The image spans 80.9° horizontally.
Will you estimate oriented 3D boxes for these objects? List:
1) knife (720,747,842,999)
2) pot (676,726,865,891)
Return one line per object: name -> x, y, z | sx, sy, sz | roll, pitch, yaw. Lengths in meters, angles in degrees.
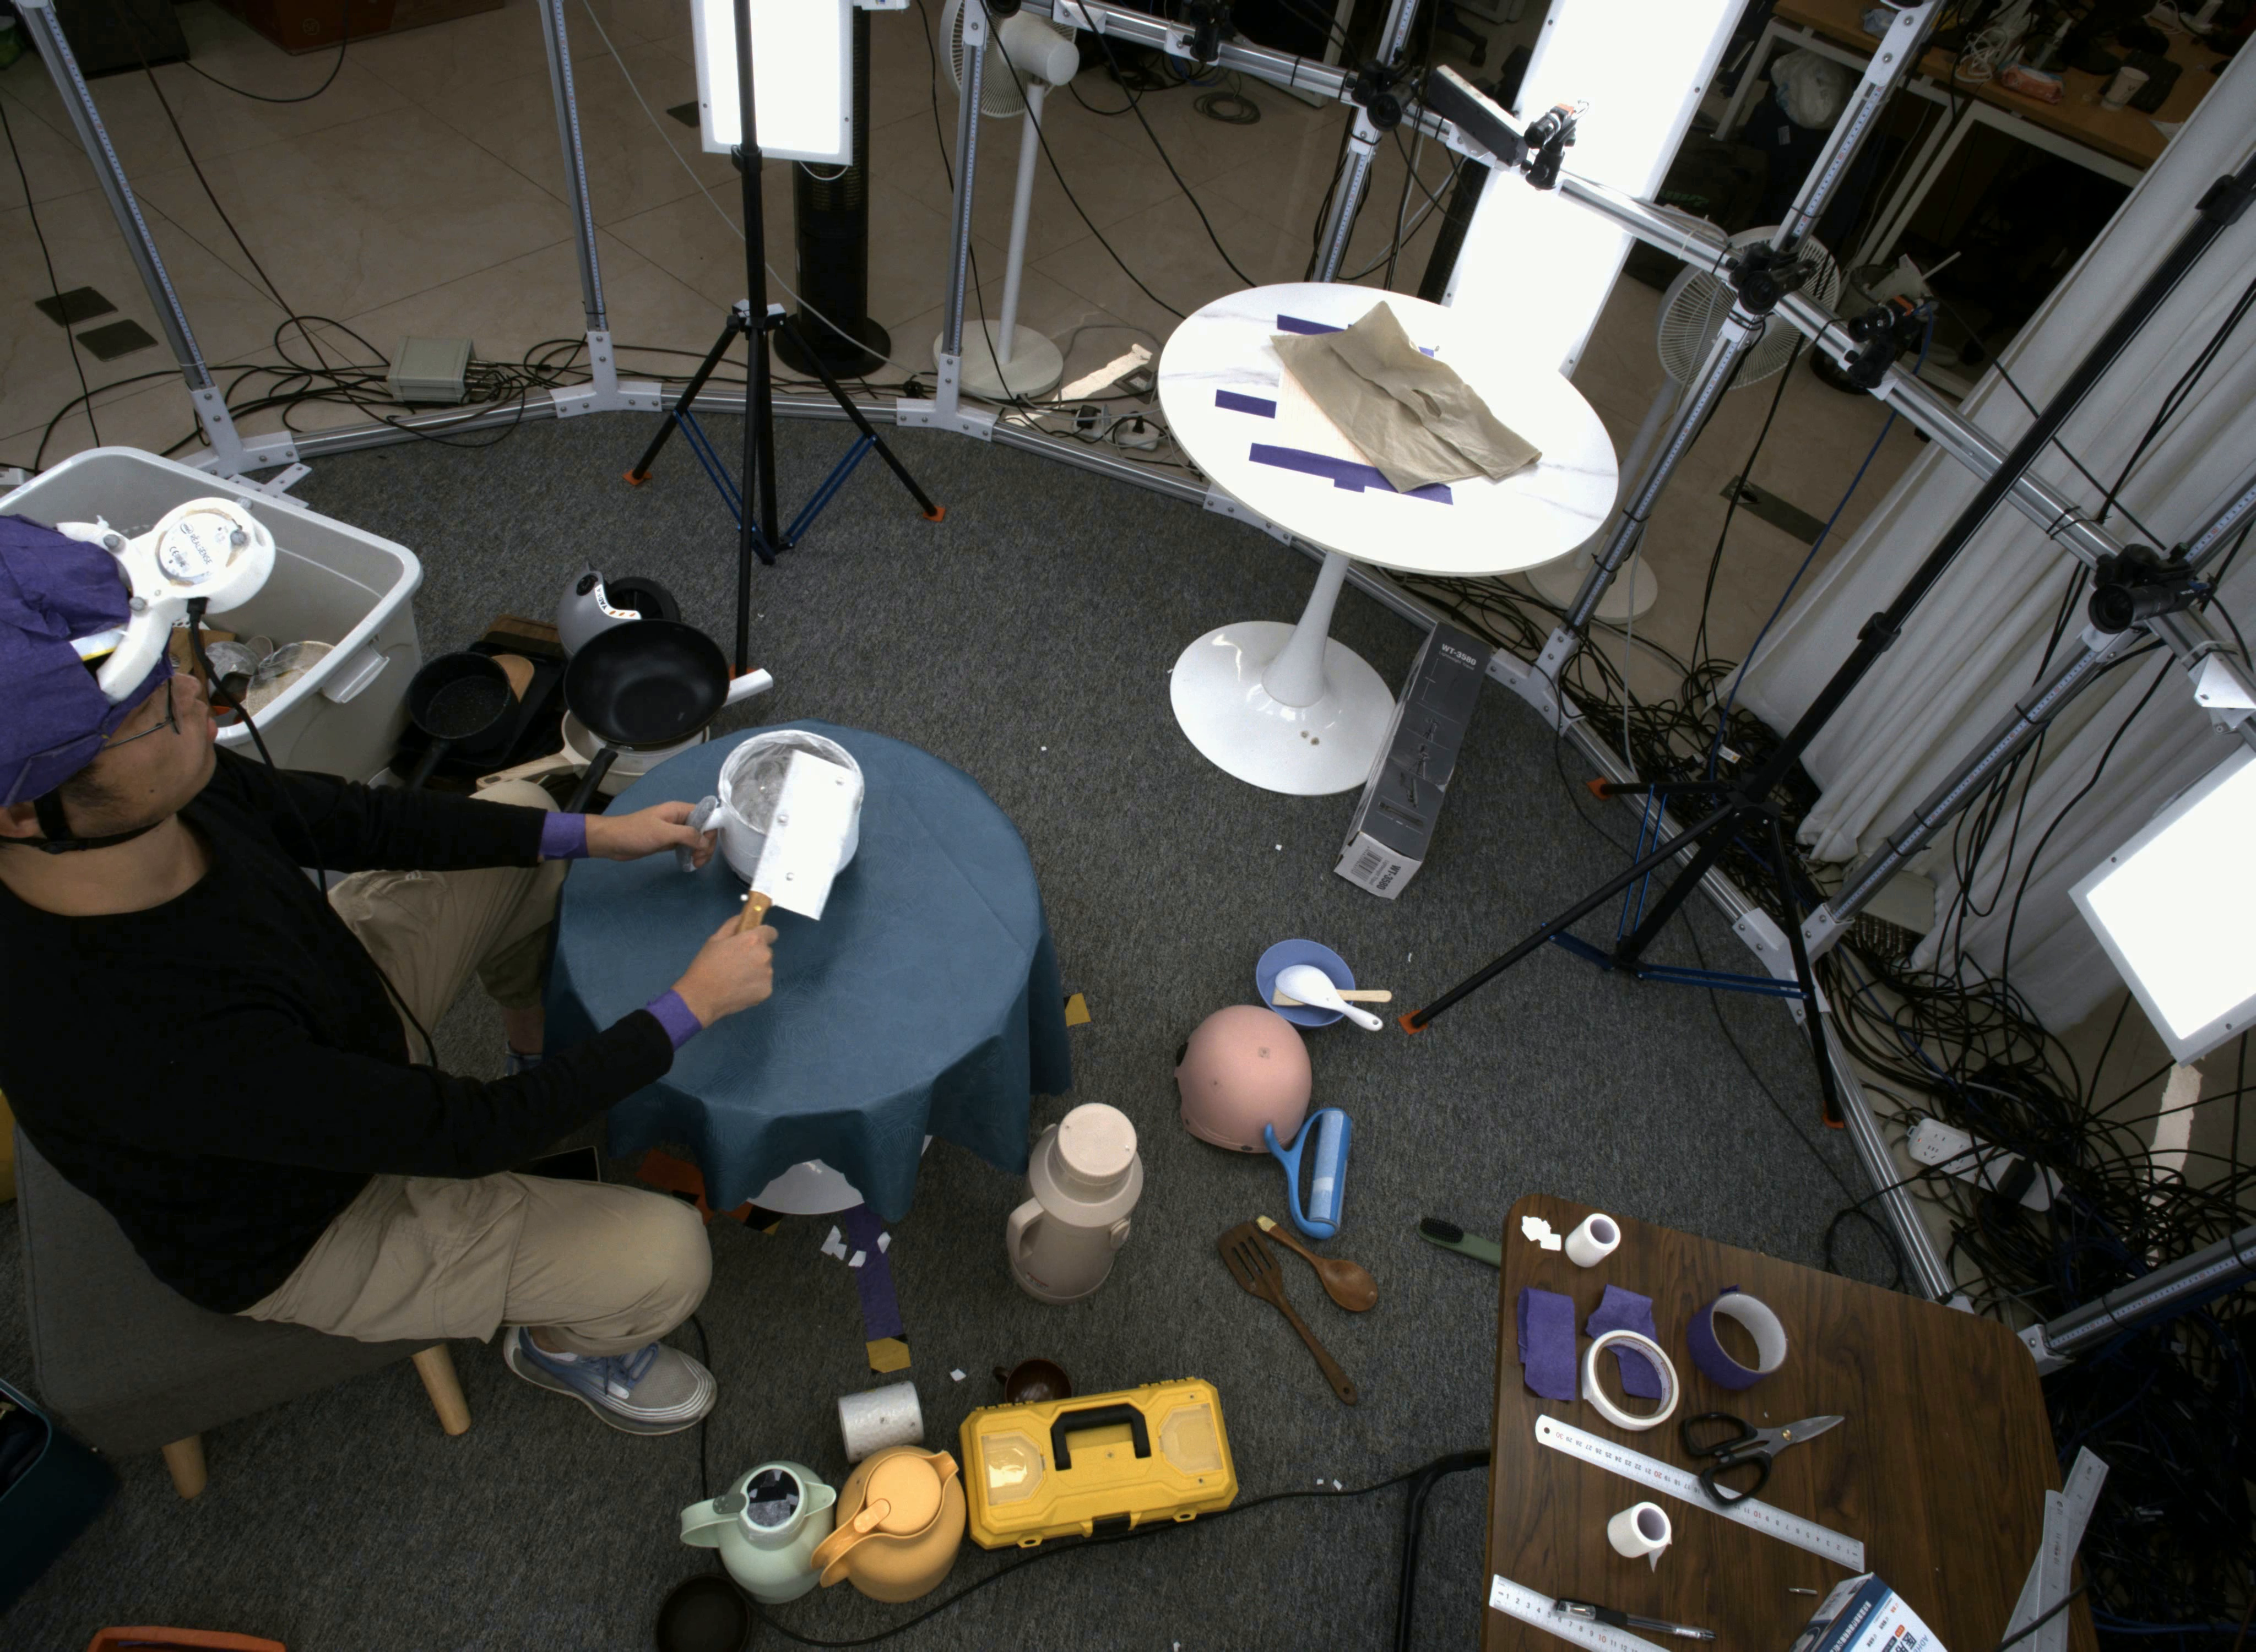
knife -> -0.403, 0.058, 1.526 | 0.095, 0.020, 0.305 | 20, 73, -27
pot -> -0.450, -0.010, 1.624 | 0.235, 0.139, 0.174 | -16, 58, -30
